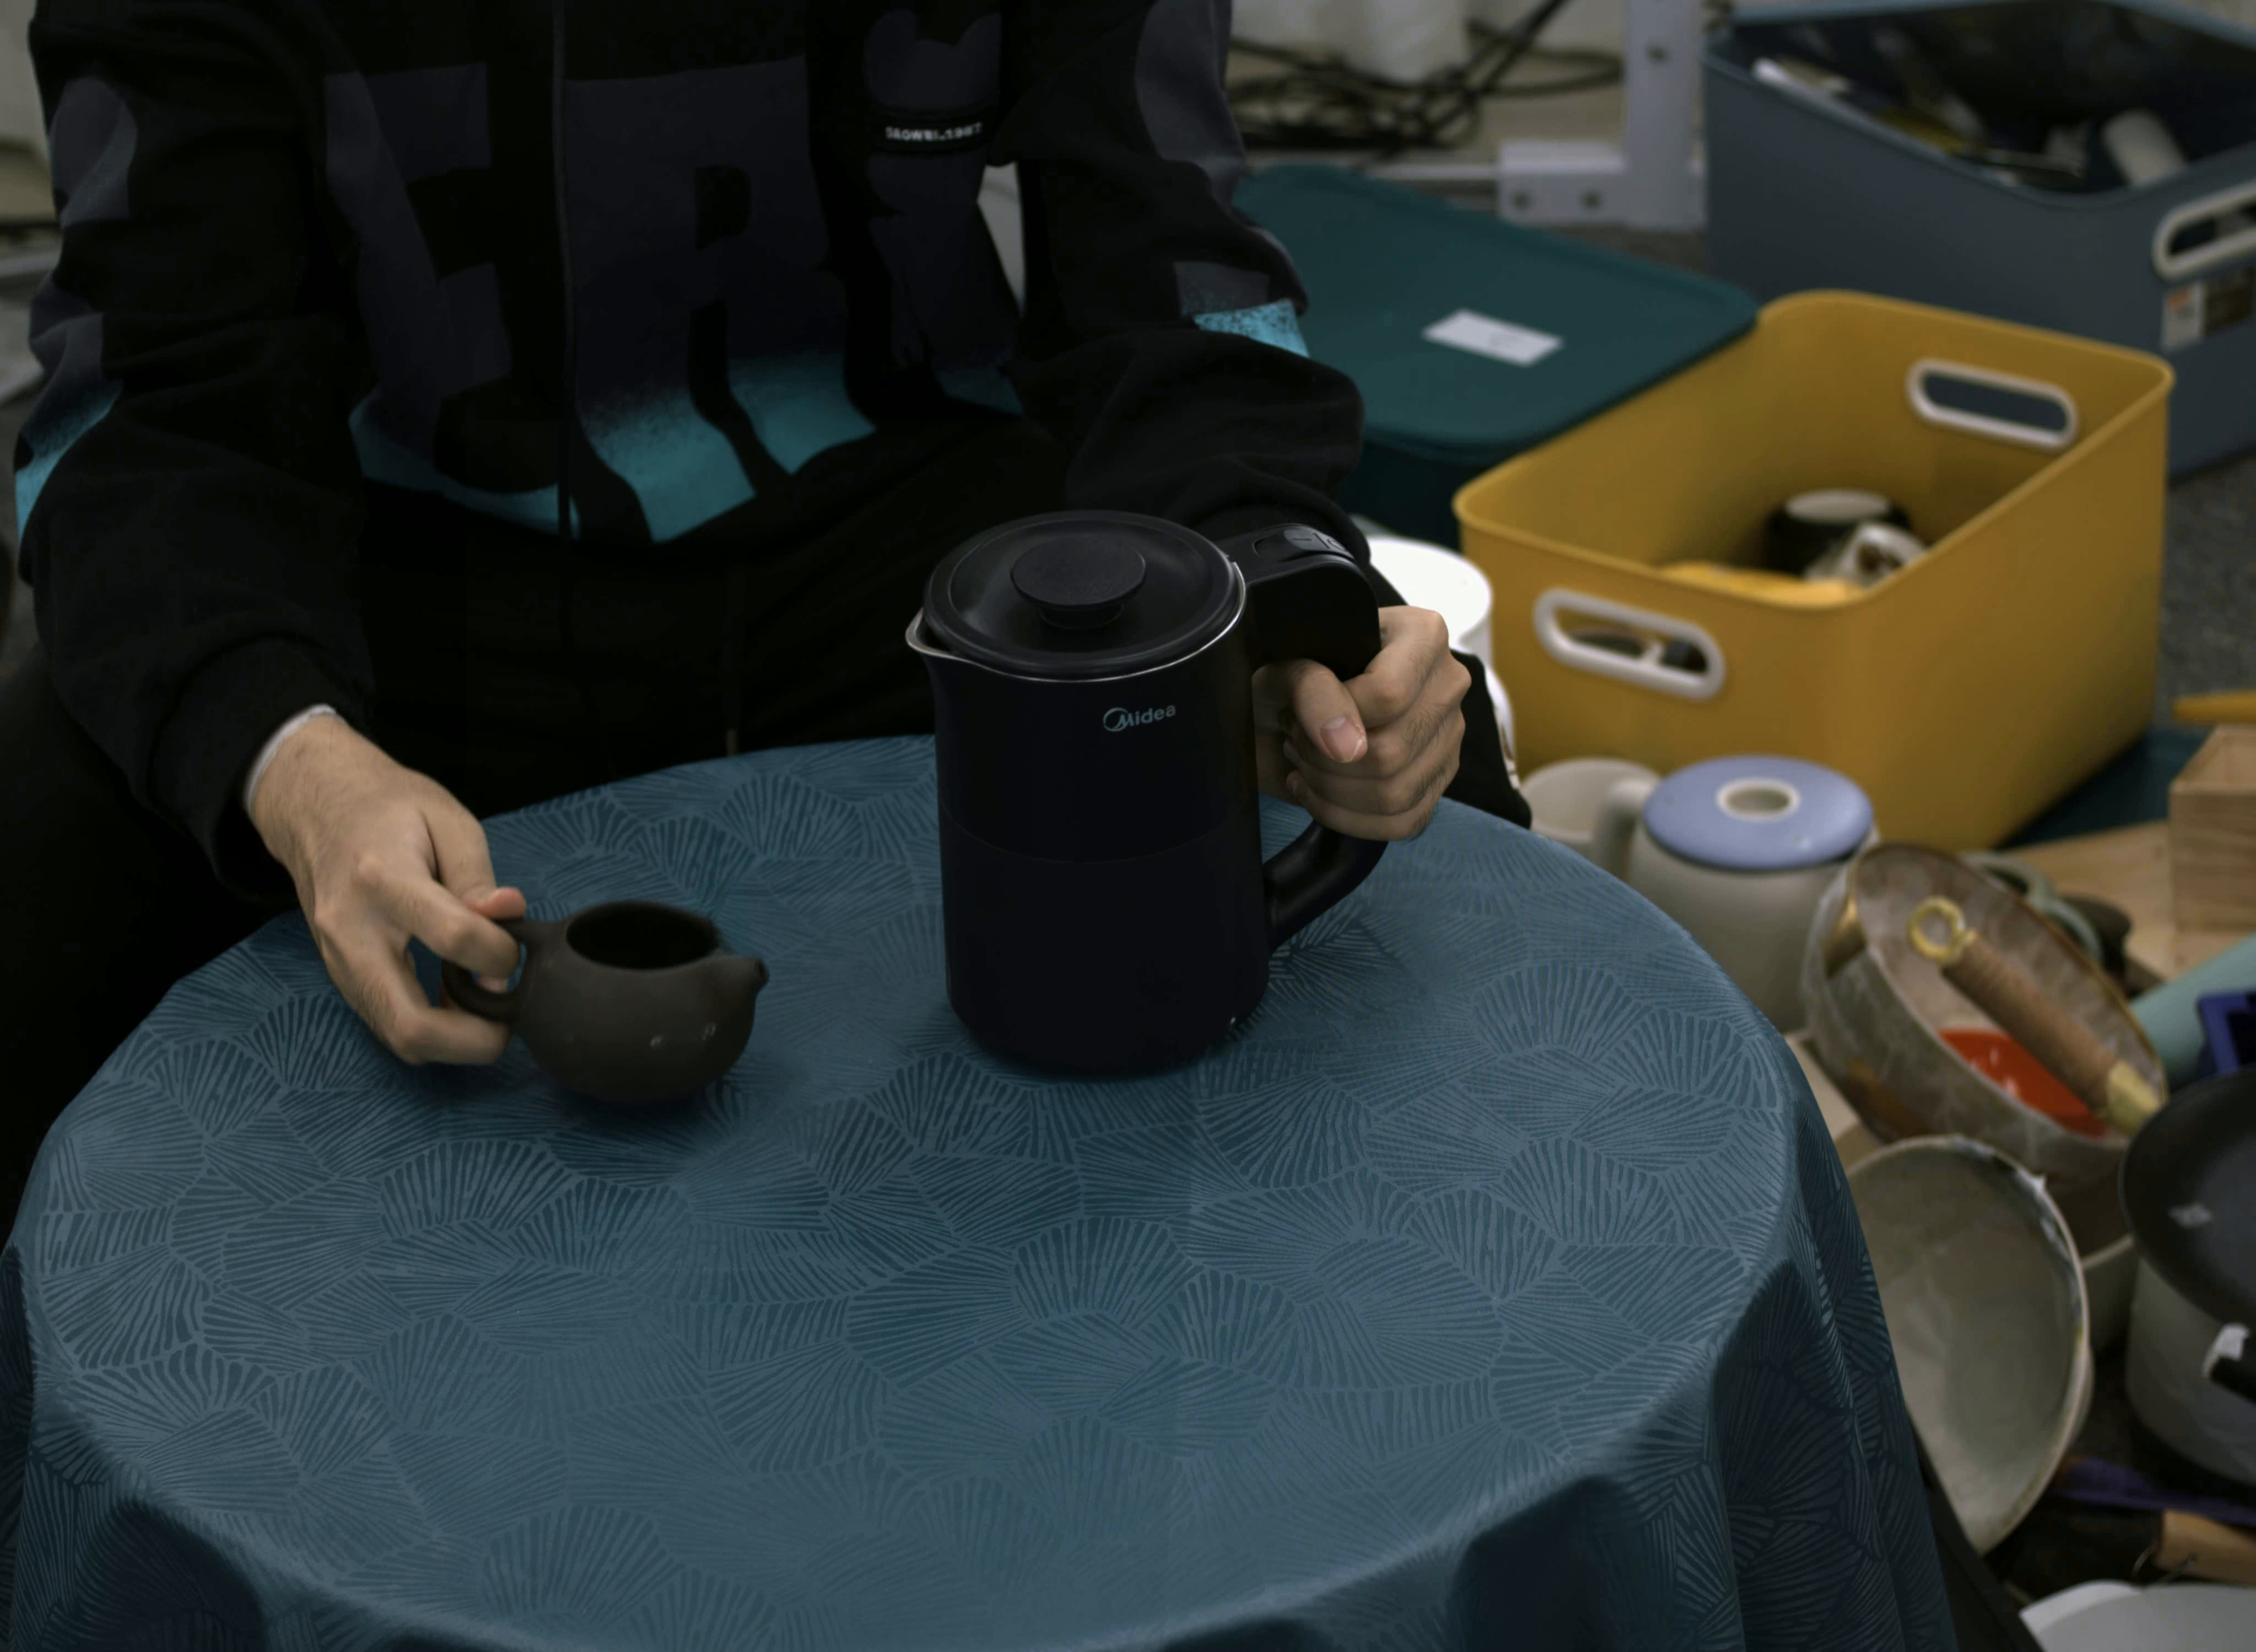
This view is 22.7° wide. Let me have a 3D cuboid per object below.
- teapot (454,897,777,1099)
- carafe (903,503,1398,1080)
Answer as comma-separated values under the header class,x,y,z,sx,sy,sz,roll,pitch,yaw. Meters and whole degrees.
class,x,y,z,sx,sy,sz,roll,pitch,yaw
teapot,-0.177,0.056,1.921,0.113,0.052,0.084,14,25,10
carafe,0.009,-0.023,1.932,0.172,0.171,0.115,-17,33,-19
